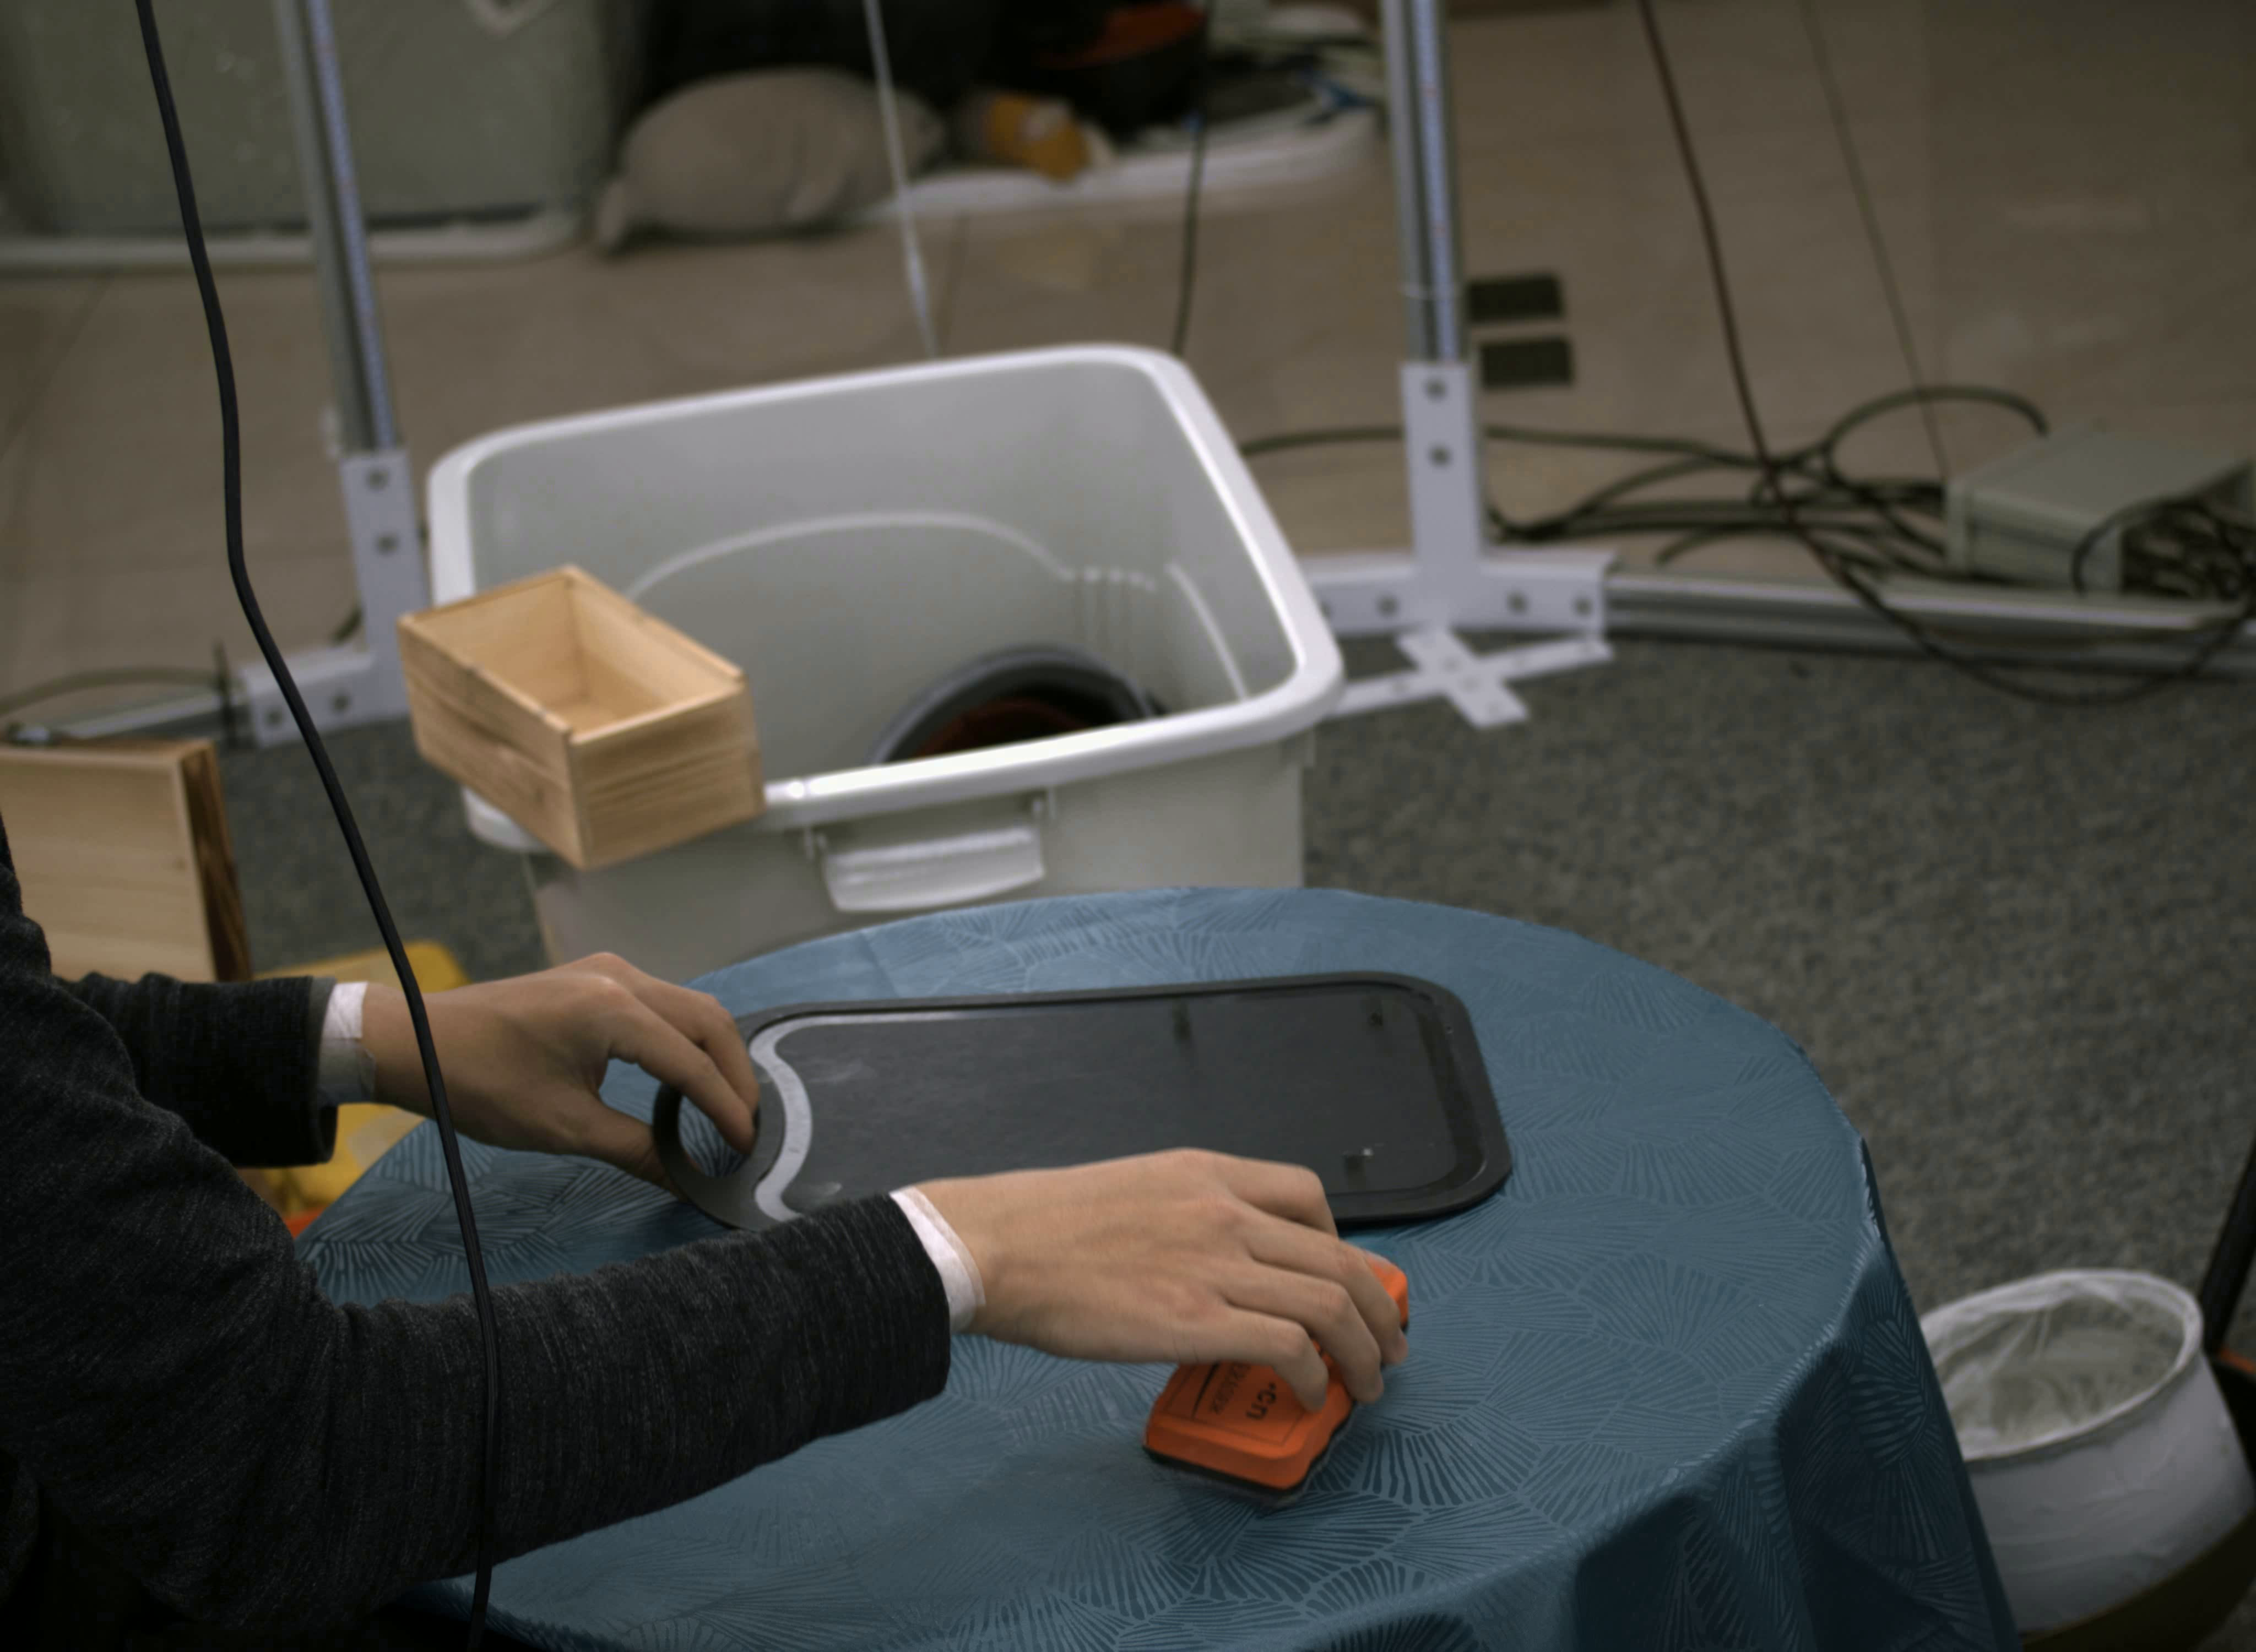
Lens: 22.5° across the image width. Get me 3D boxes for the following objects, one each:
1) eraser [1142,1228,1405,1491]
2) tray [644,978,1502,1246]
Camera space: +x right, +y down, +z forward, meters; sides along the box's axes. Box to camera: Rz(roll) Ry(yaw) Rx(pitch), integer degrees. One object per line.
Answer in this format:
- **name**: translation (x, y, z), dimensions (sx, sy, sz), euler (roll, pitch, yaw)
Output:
- **eraser**: translation (0.051, 0.184, 1.972), dimensions (0.058, 0.023, 0.106), euler (14, 40, 23)
- **tray**: translation (-0.024, 0.107, 2.184), dimensions (0.325, 0.010, 0.208), euler (-2, 24, -3)
